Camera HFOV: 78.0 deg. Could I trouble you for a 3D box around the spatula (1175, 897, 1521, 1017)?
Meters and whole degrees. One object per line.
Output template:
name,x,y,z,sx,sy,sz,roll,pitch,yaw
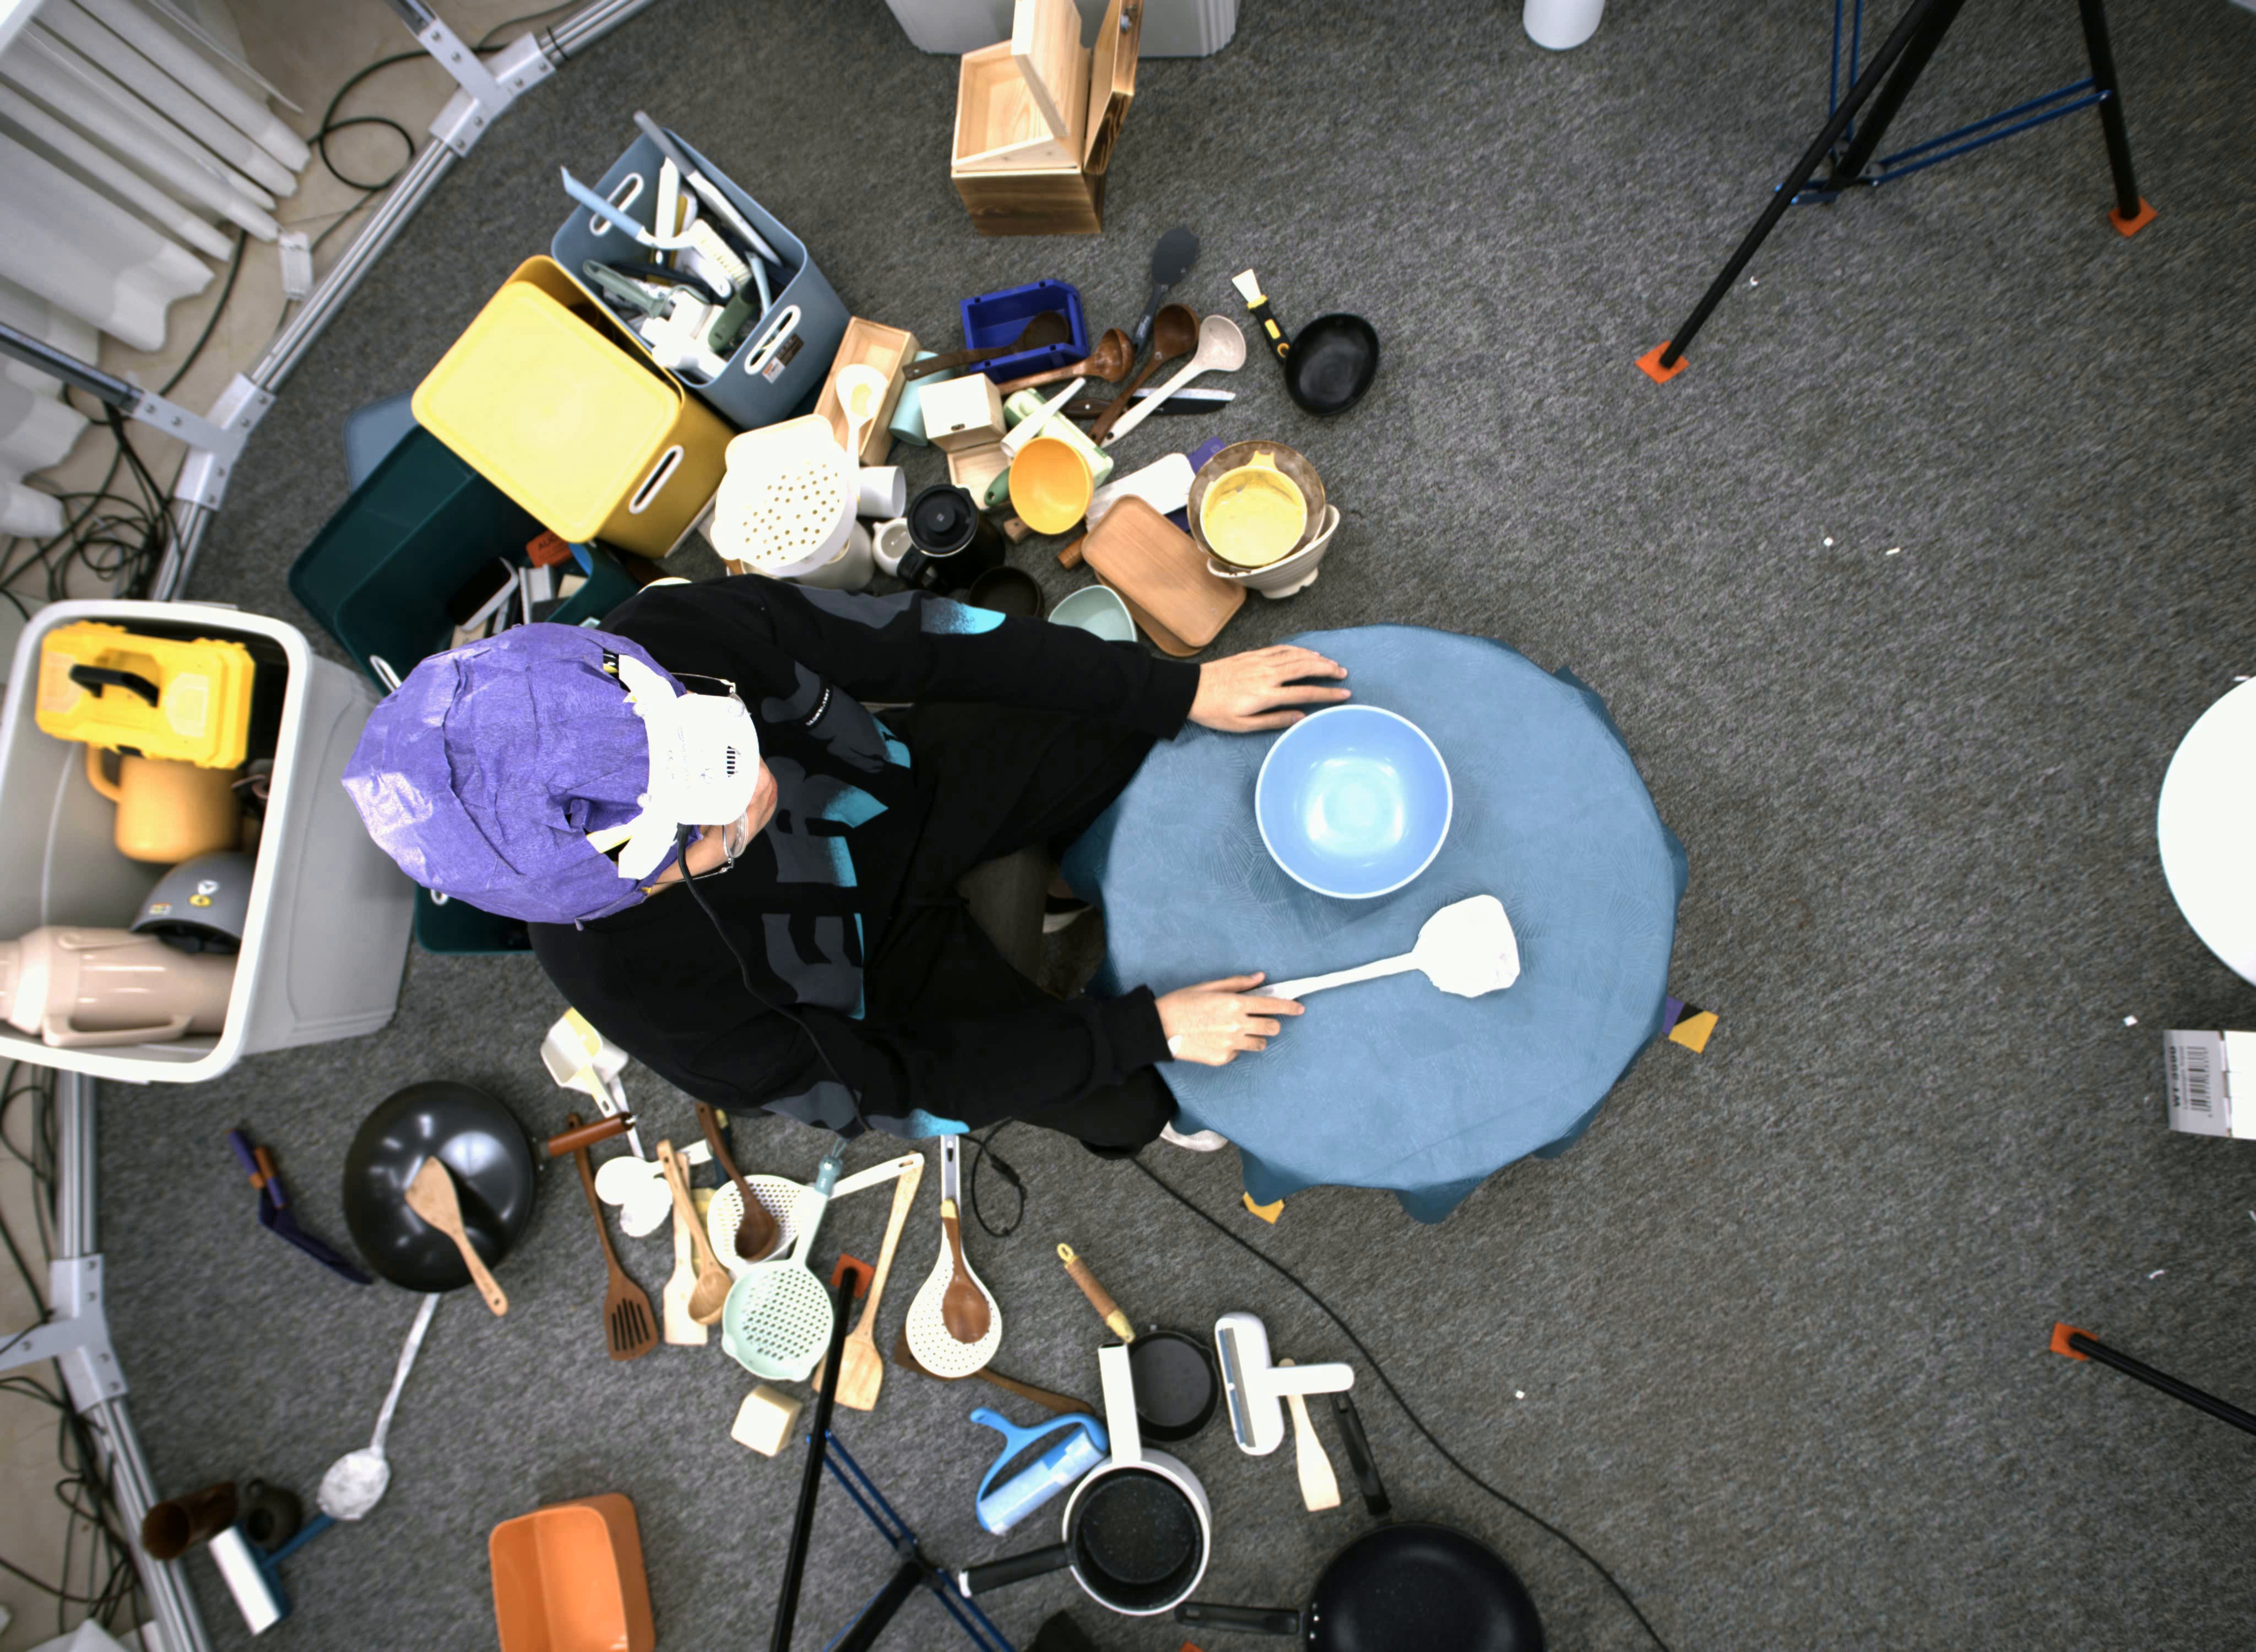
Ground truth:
spatula,0.225,0.157,1.448,0.367,0.045,0.098,-14,85,9

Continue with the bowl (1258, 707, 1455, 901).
bowl,0.235,-0.019,1.429,0.197,0.095,0.195,-1,87,9
